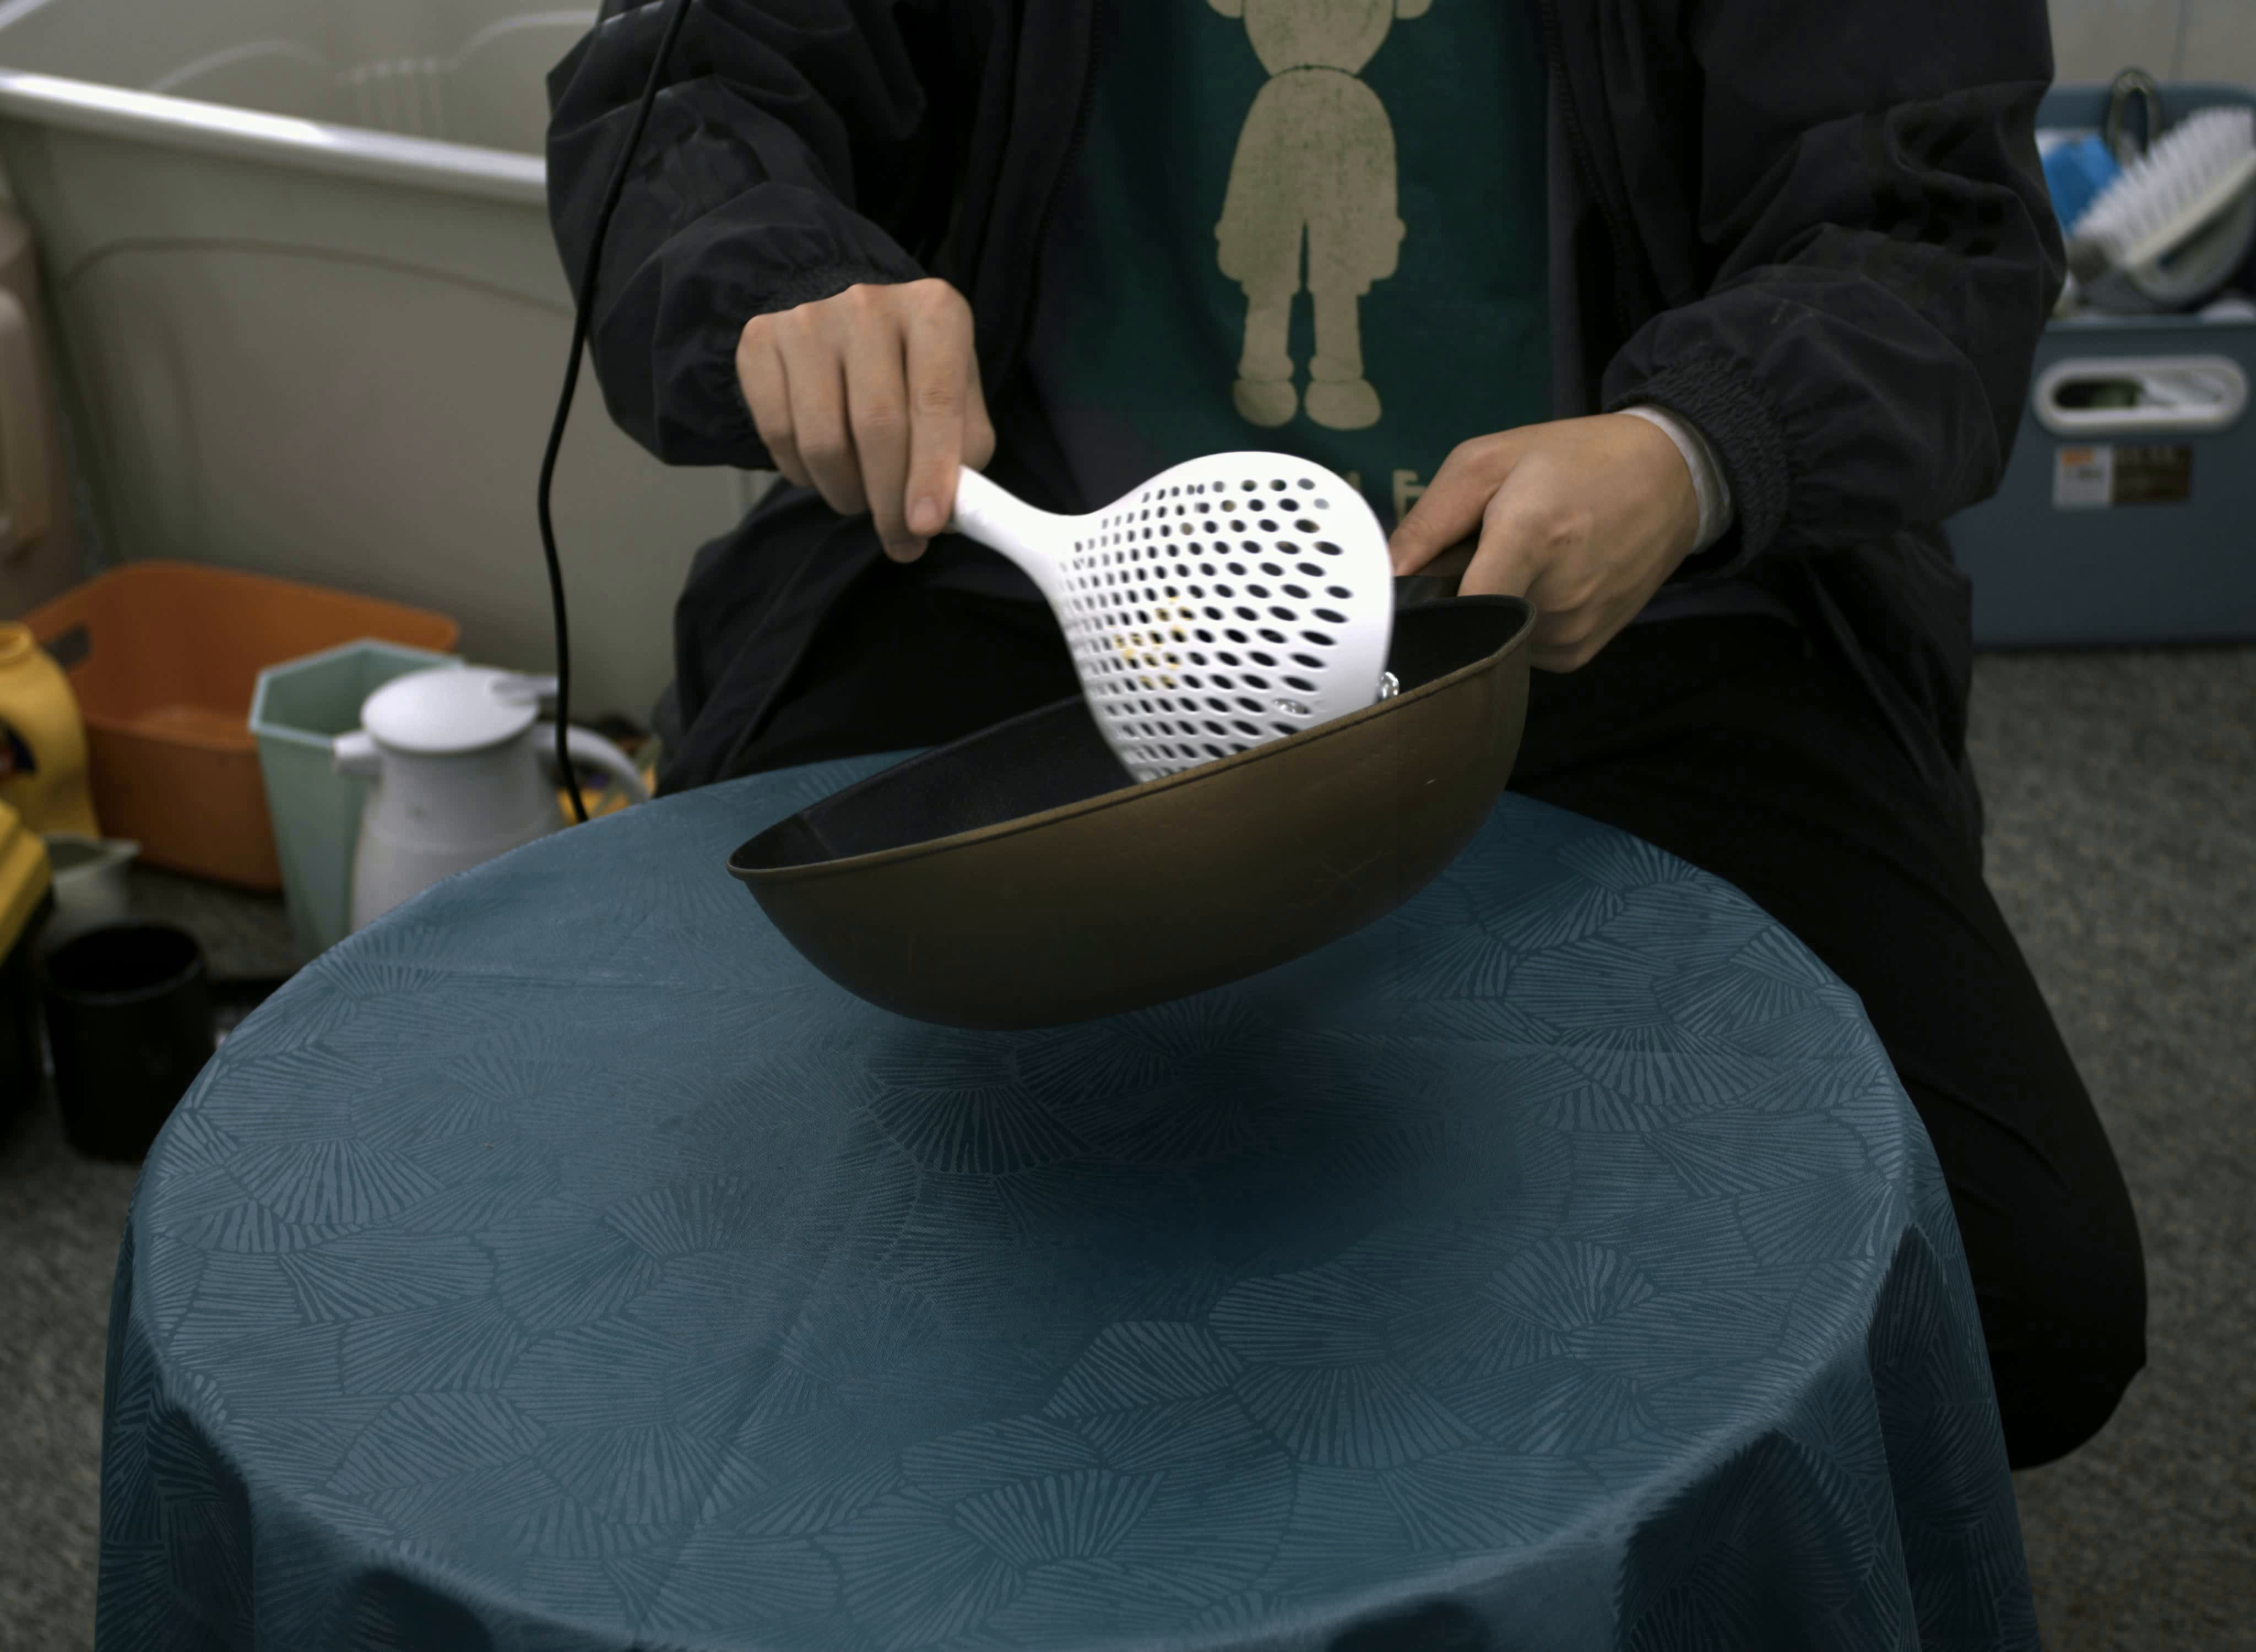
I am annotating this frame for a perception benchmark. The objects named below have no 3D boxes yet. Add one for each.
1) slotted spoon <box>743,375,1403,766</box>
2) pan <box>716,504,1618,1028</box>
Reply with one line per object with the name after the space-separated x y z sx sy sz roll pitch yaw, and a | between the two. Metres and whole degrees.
-0.029 -0.092 1.919 0.050 0.136 0.348 5 15 -36 | slotted spoon
0.057 -0.021 1.934 0.284 0.087 0.469 -12 9 34 | pan
